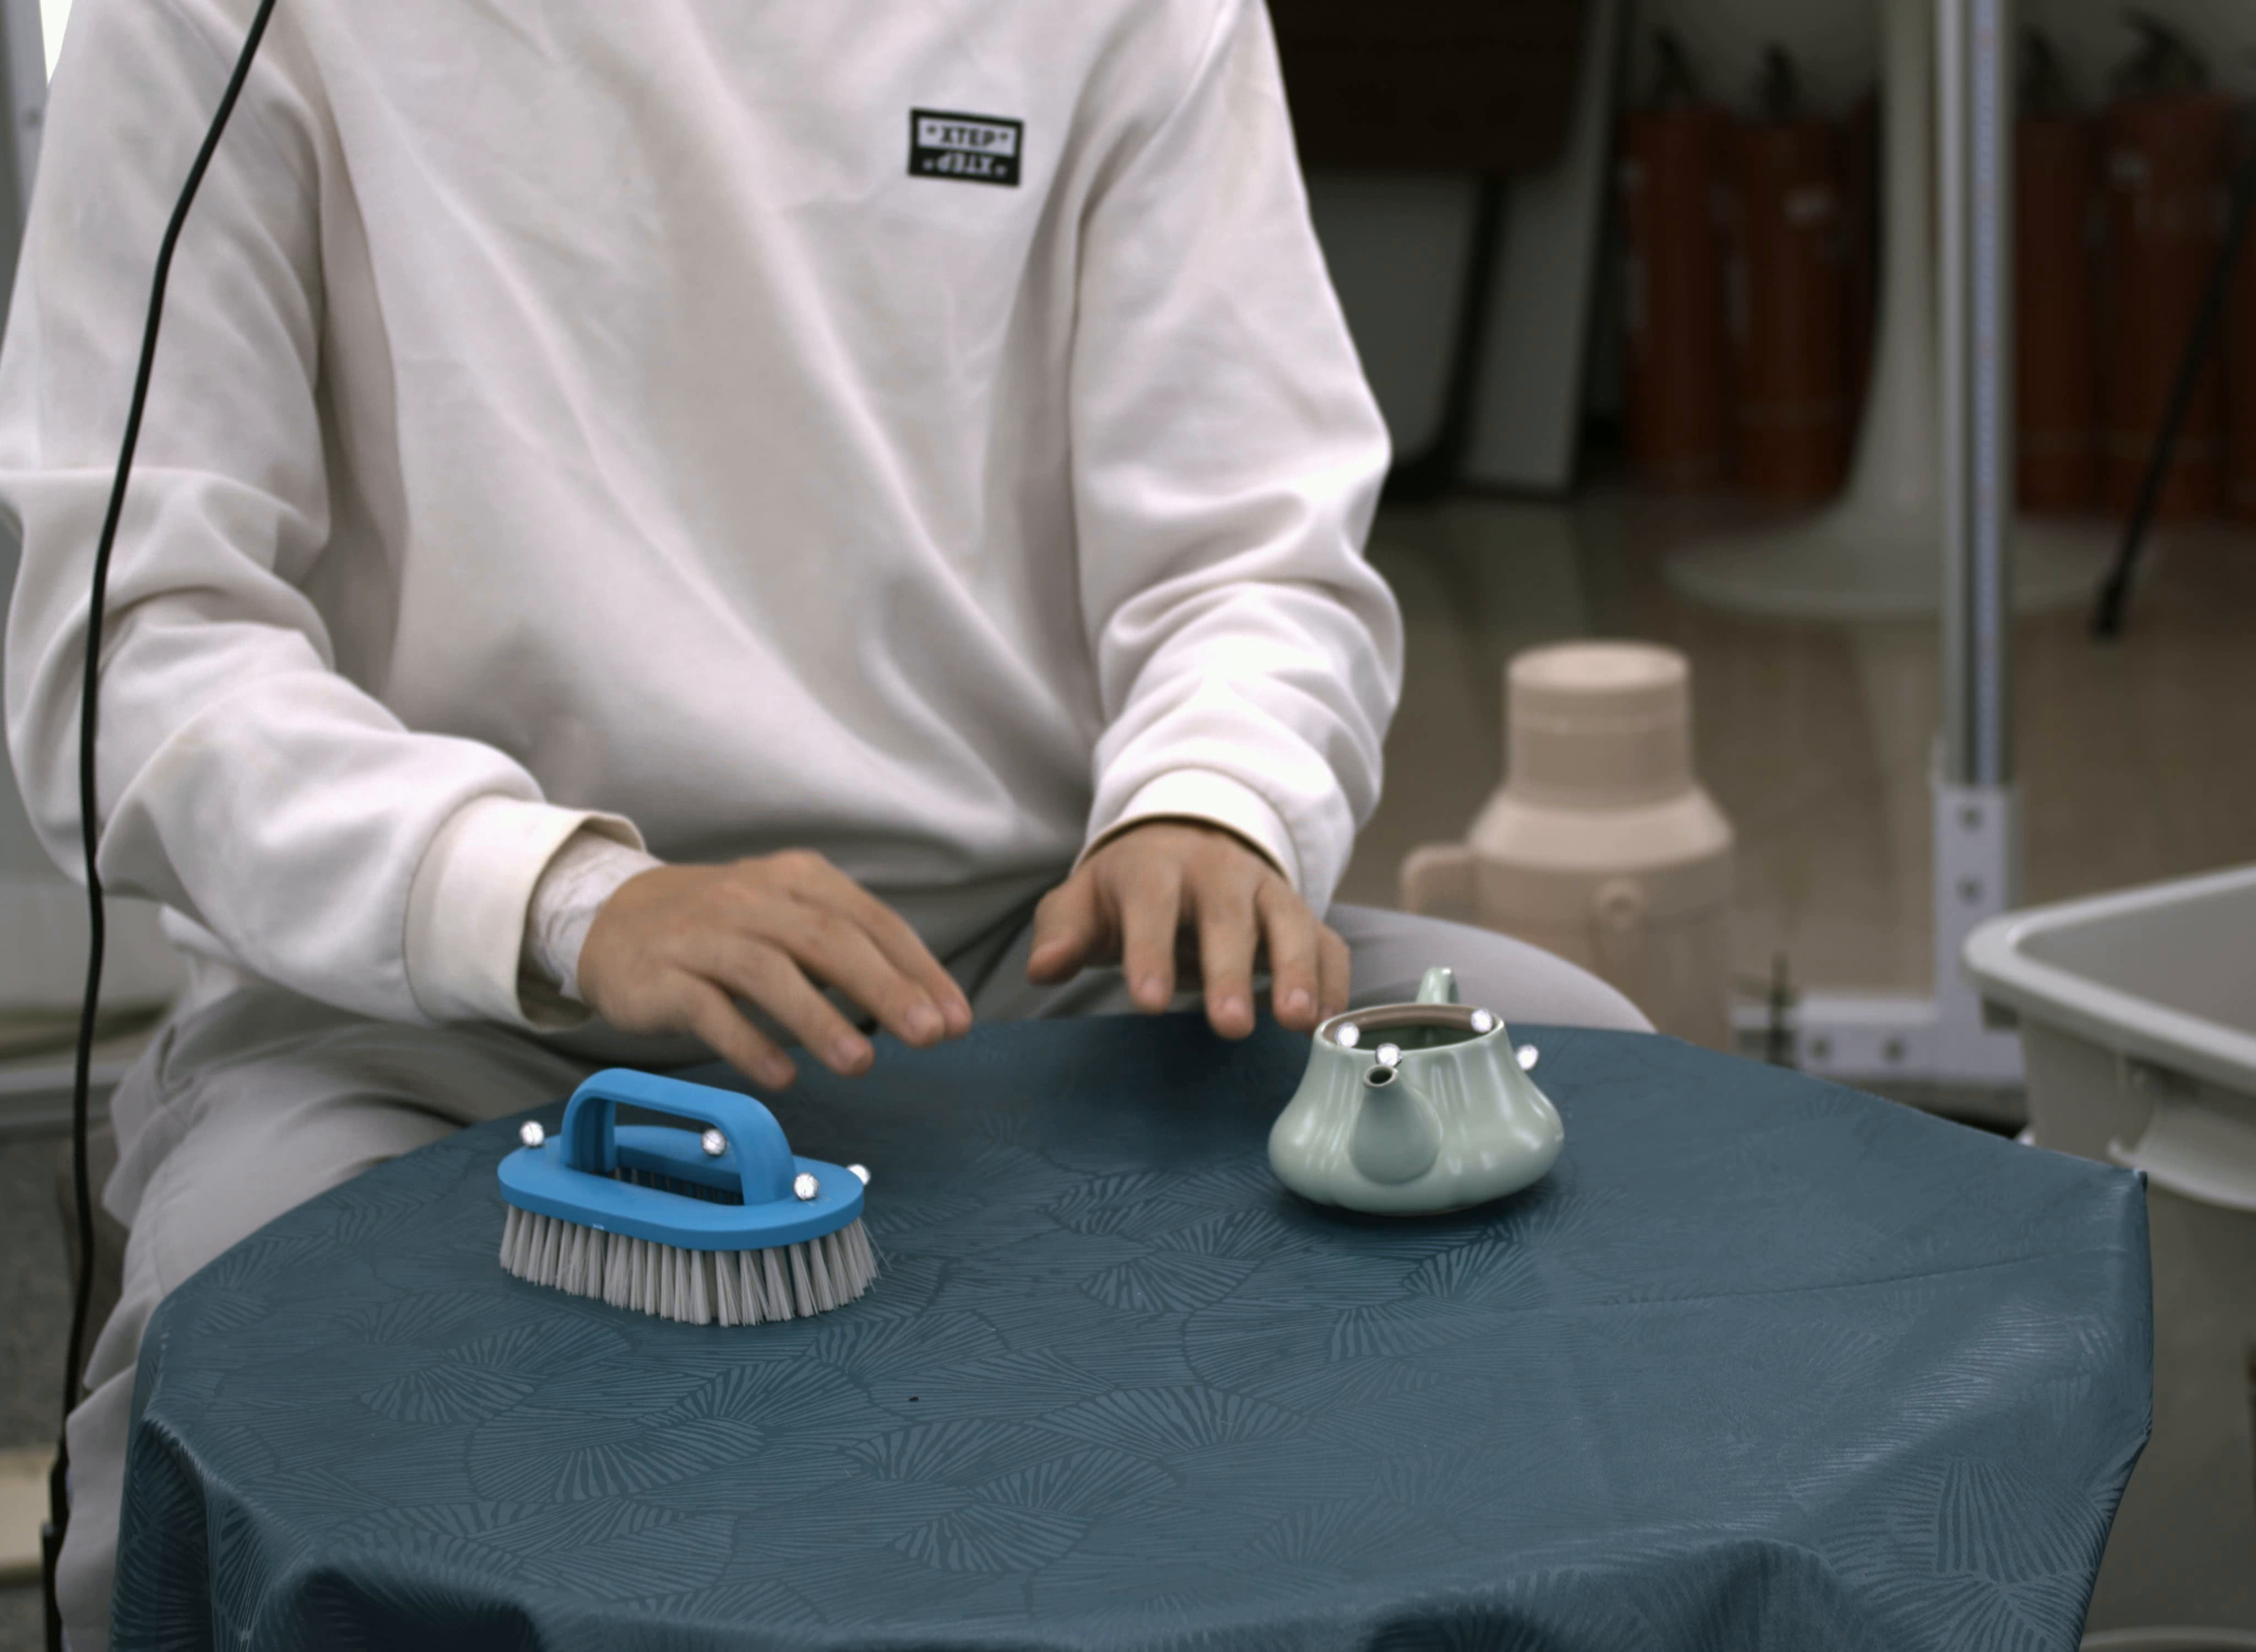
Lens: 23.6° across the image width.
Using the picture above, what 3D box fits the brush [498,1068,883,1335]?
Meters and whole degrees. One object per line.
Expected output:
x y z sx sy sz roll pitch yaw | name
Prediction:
-0.143 0.112 1.717 0.143 0.064 0.083 8 22 44 | brush

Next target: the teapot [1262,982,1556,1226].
0.090 0.092 1.746 0.095 0.062 0.136 -6 10 12 | teapot
